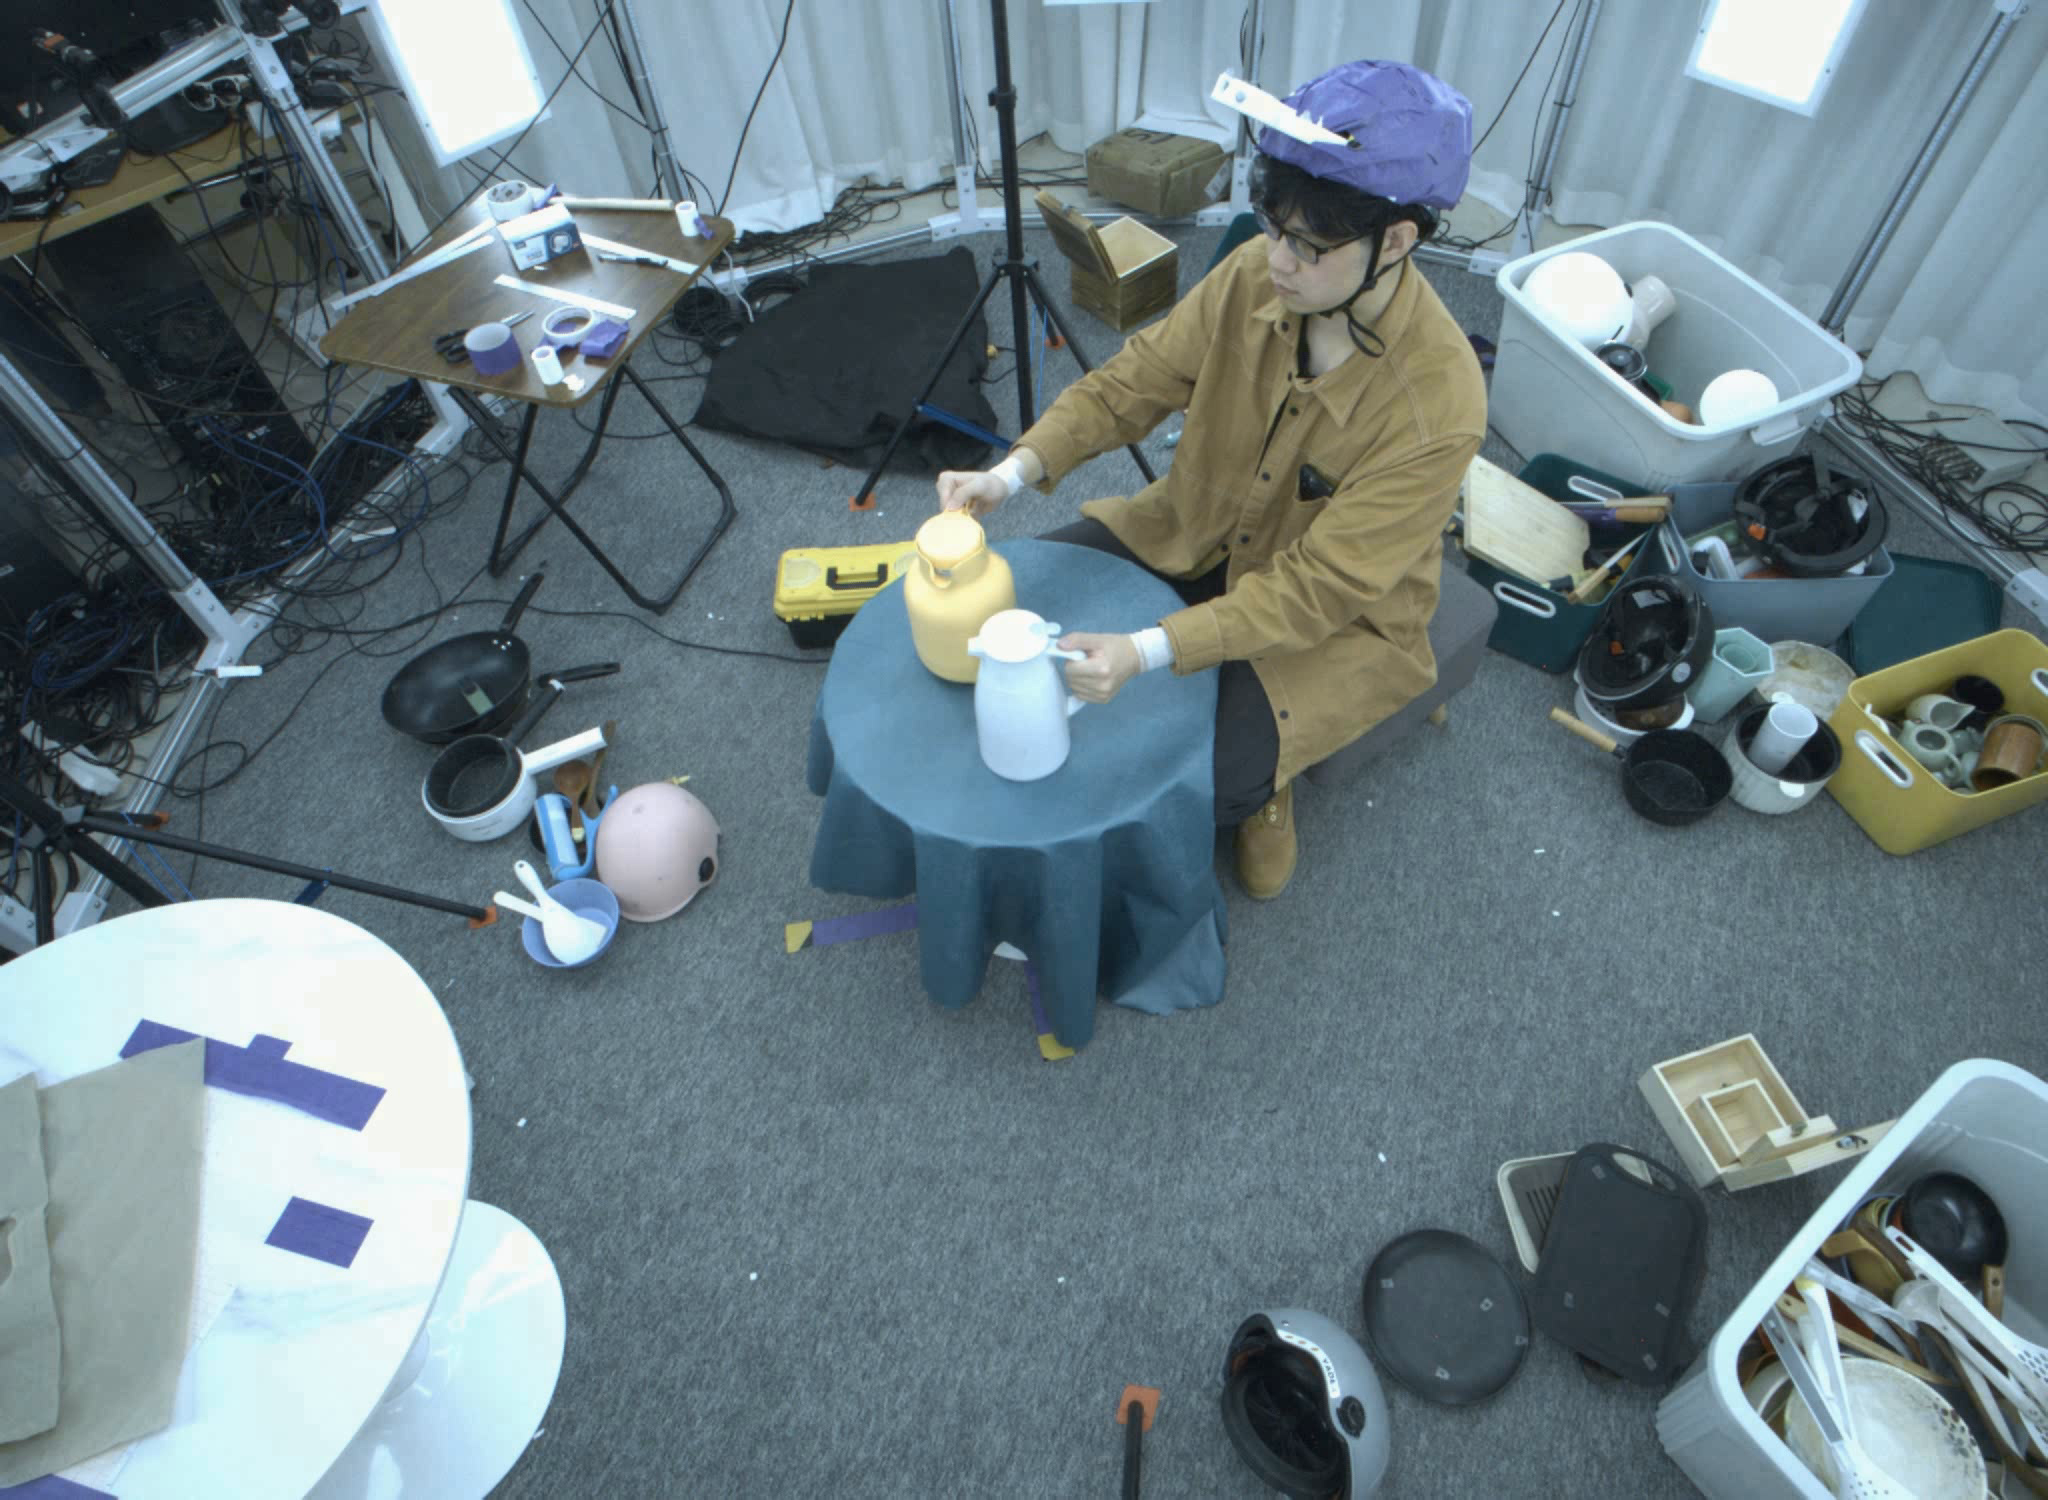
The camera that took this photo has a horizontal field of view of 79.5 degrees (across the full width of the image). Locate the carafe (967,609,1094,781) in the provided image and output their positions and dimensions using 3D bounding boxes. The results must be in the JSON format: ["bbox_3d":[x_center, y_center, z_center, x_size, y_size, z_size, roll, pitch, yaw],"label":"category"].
[{"bbox_3d":[0.012,-0.083,1.689,0.168,0.251,0.131,-4,54,0],"label":"carafe"}]

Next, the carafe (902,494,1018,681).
[{"bbox_3d":[-0.091,-0.244,1.795,0.163,0.263,0.201,6,59,7],"label":"carafe"}]
